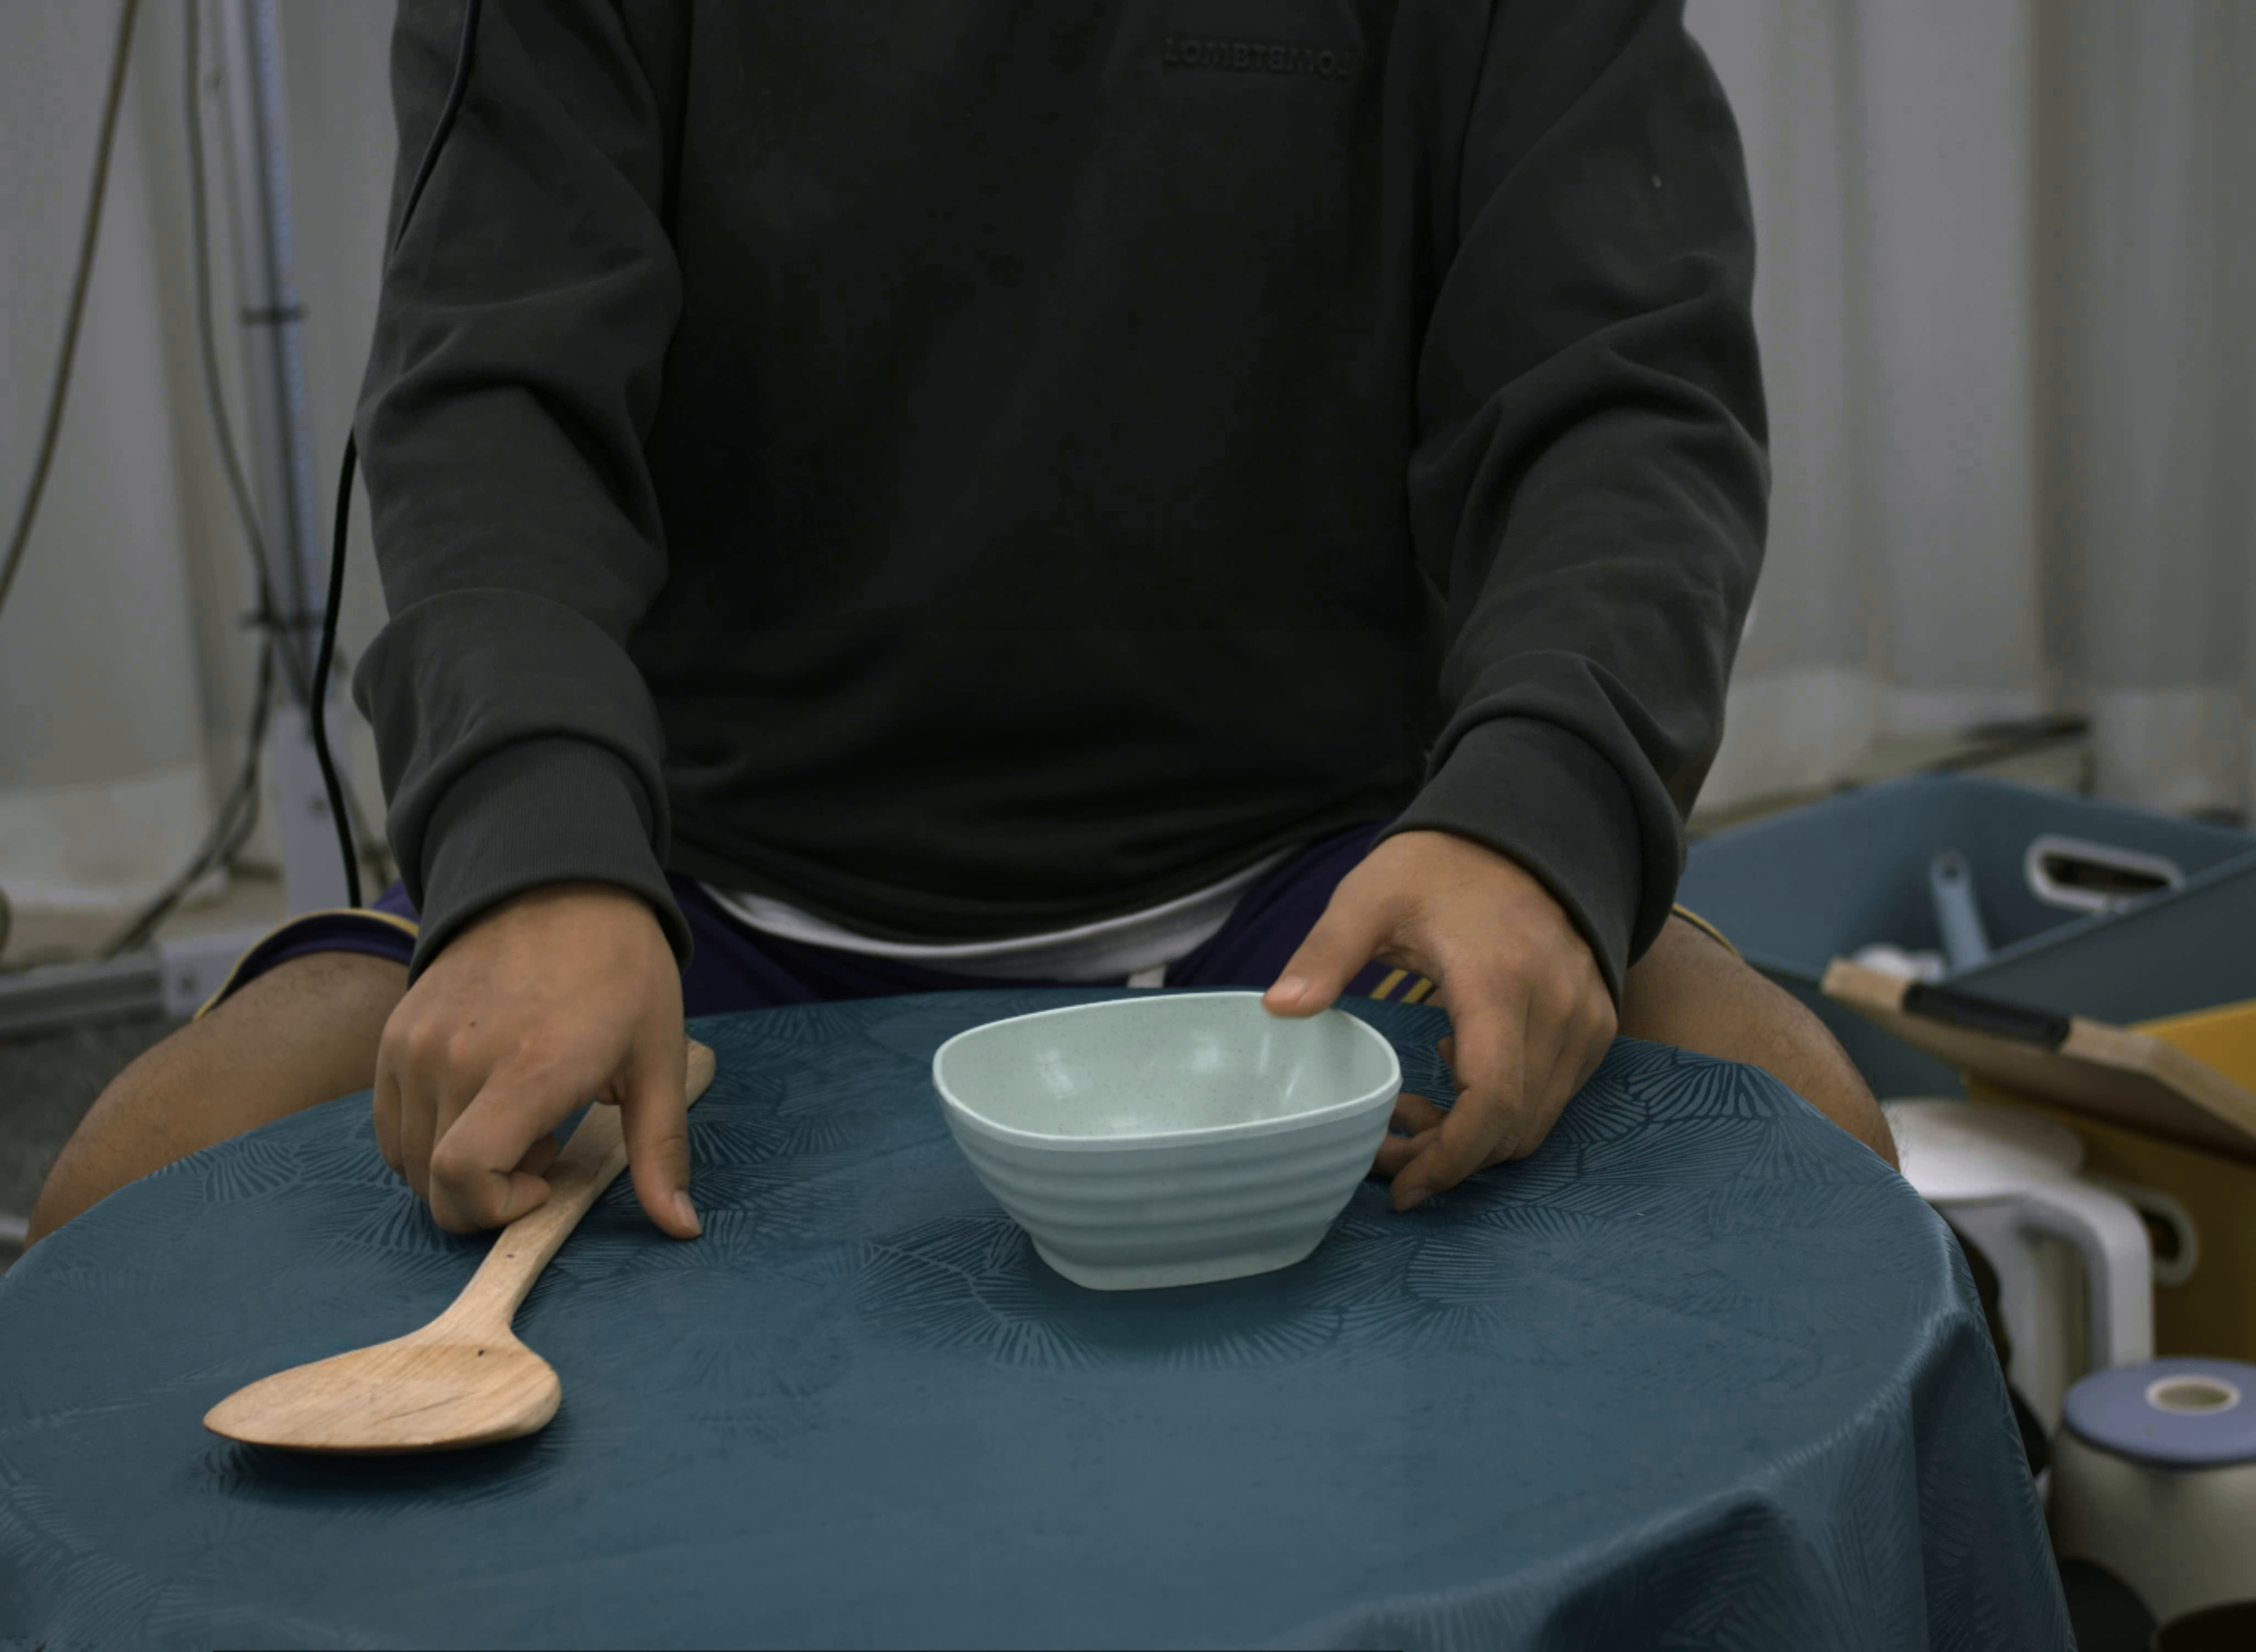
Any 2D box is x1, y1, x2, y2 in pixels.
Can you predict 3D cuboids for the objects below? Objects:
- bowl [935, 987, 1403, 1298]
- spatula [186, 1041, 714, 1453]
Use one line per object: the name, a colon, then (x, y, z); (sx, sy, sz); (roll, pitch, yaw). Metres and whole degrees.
bowl: (0.013, 0.100, 1.663); (0.151, 0.058, 0.152); (-2, 17, 0)
spatula: (-0.187, 0.124, 1.683); (0.095, 0.018, 0.393); (1, 16, 9)
